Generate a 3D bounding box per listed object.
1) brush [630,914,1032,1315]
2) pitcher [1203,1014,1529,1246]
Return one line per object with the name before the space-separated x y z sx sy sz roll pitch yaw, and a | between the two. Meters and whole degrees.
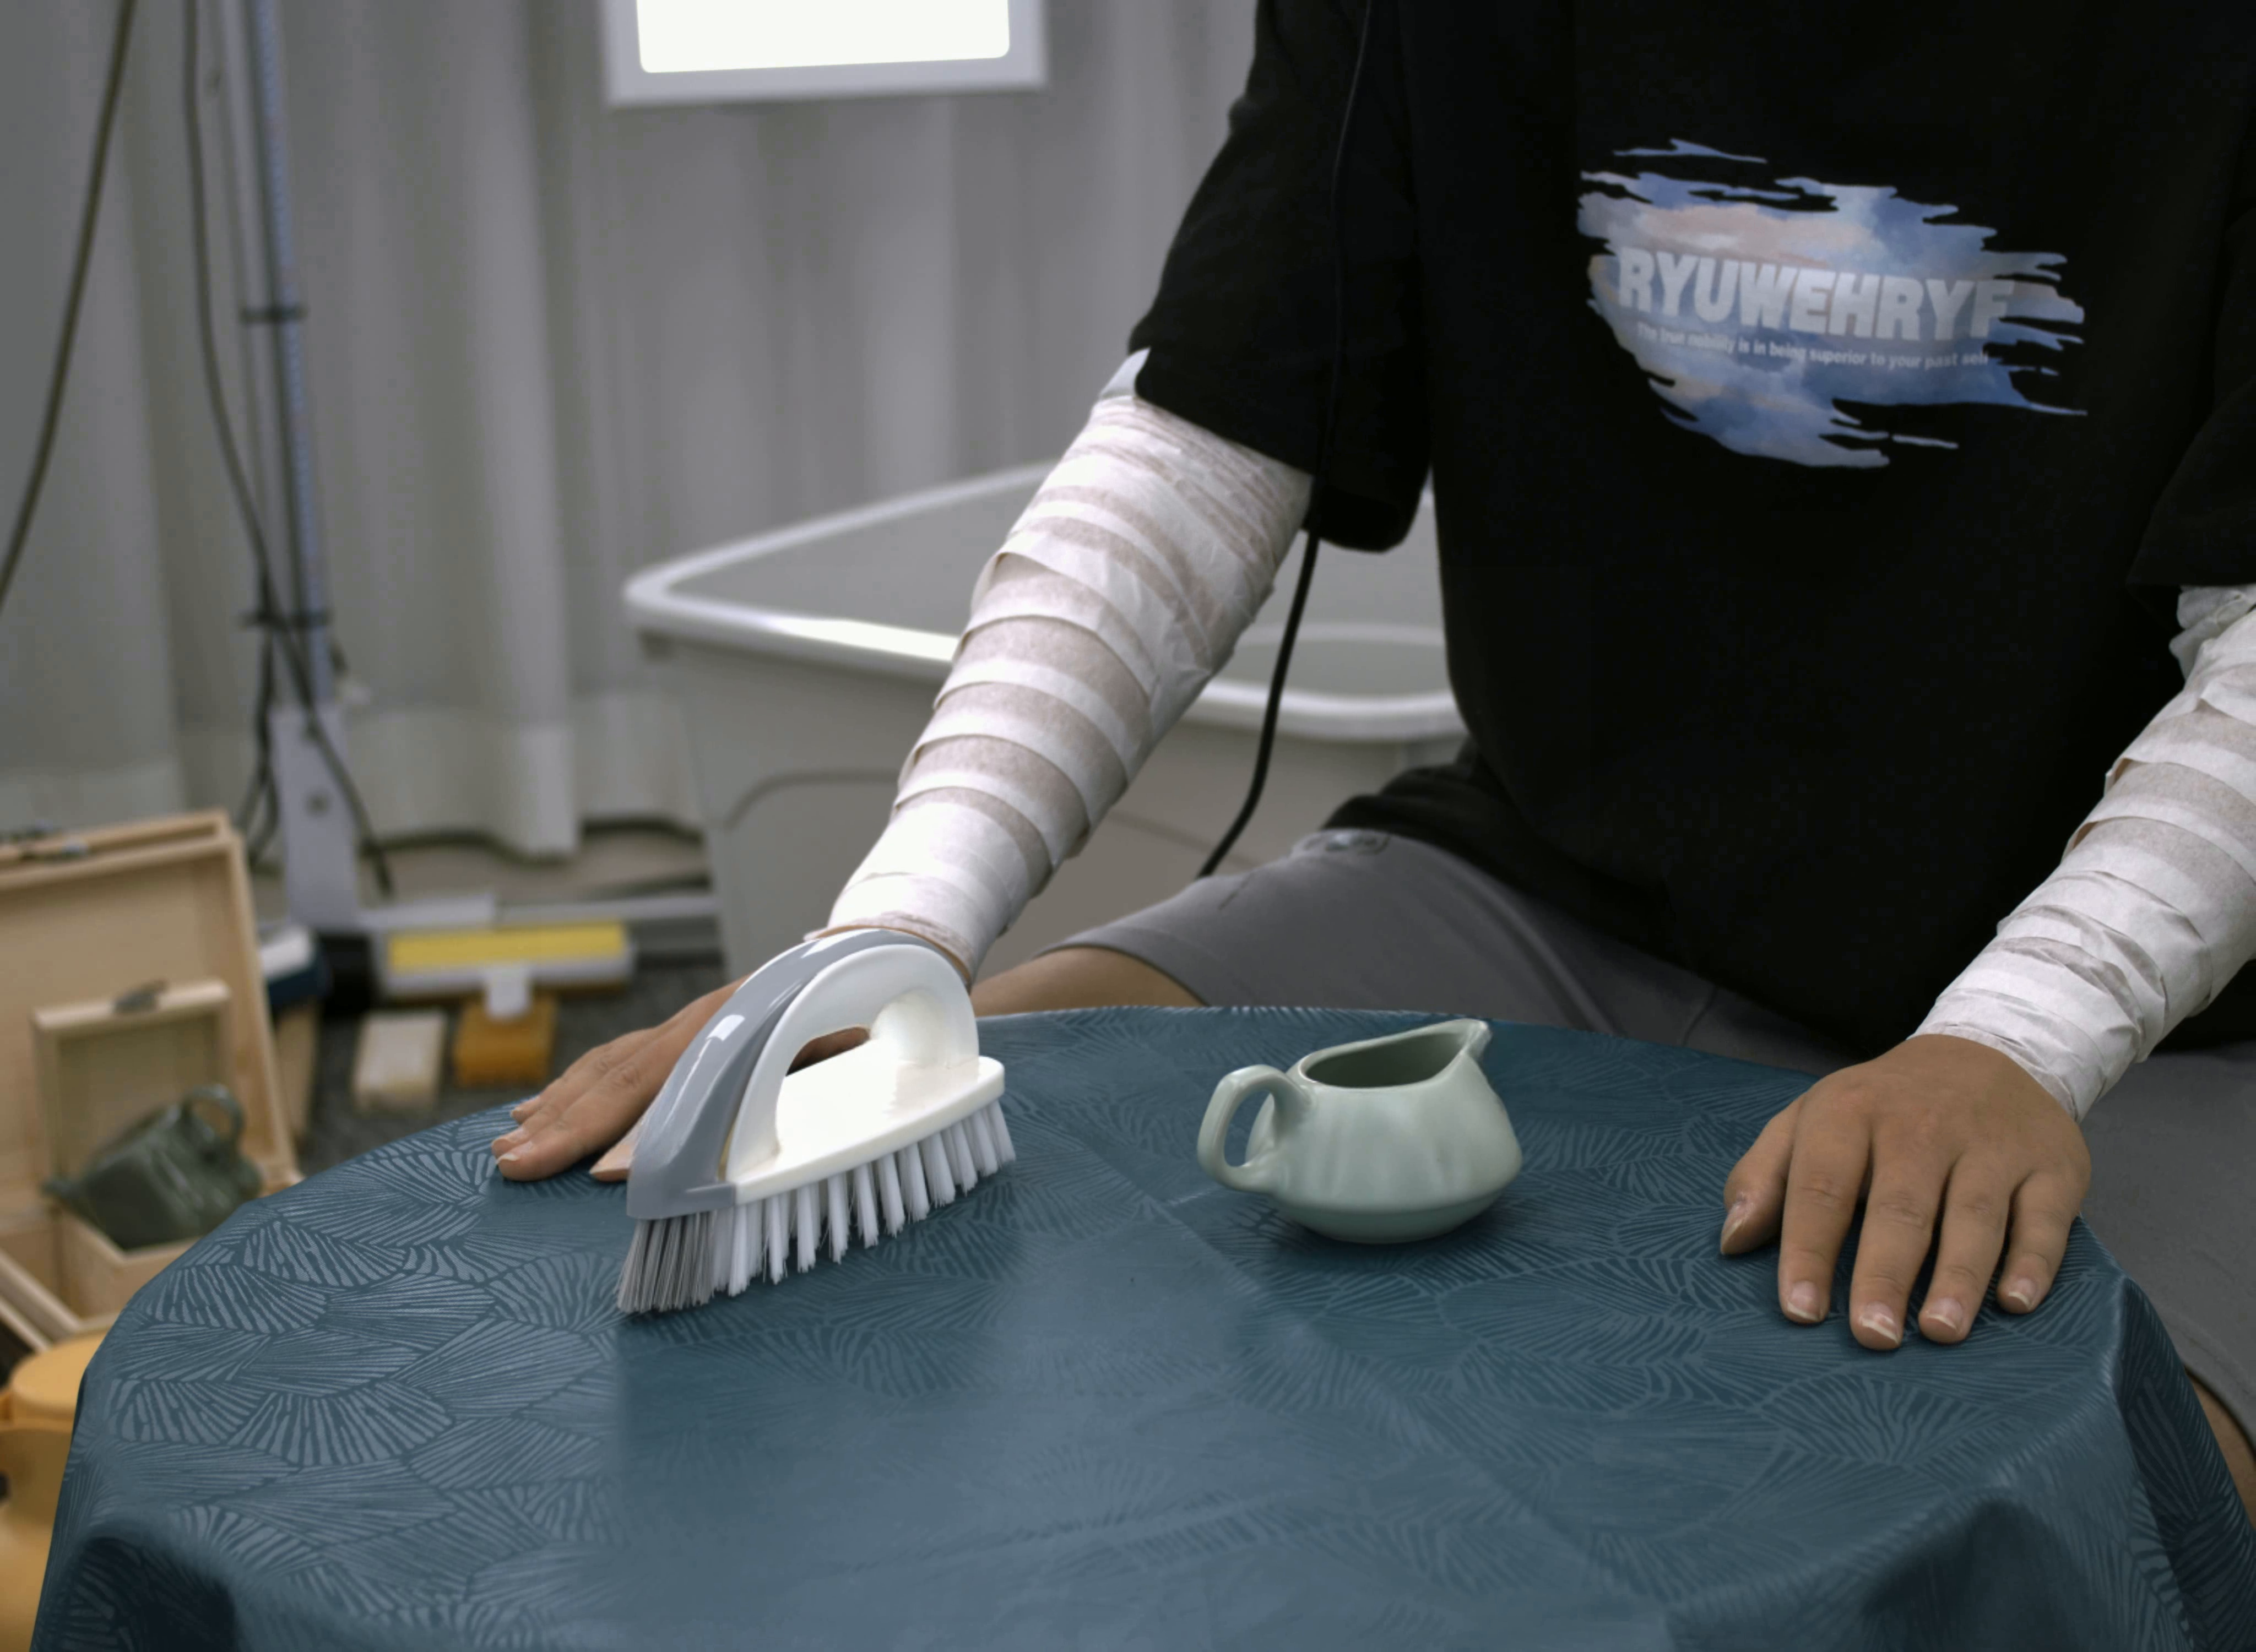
brush | -0.100 0.083 1.674 0.061 0.094 0.175 3 17 34
pitcher | 0.069 0.096 1.662 0.107 0.060 0.086 -15 18 -33
